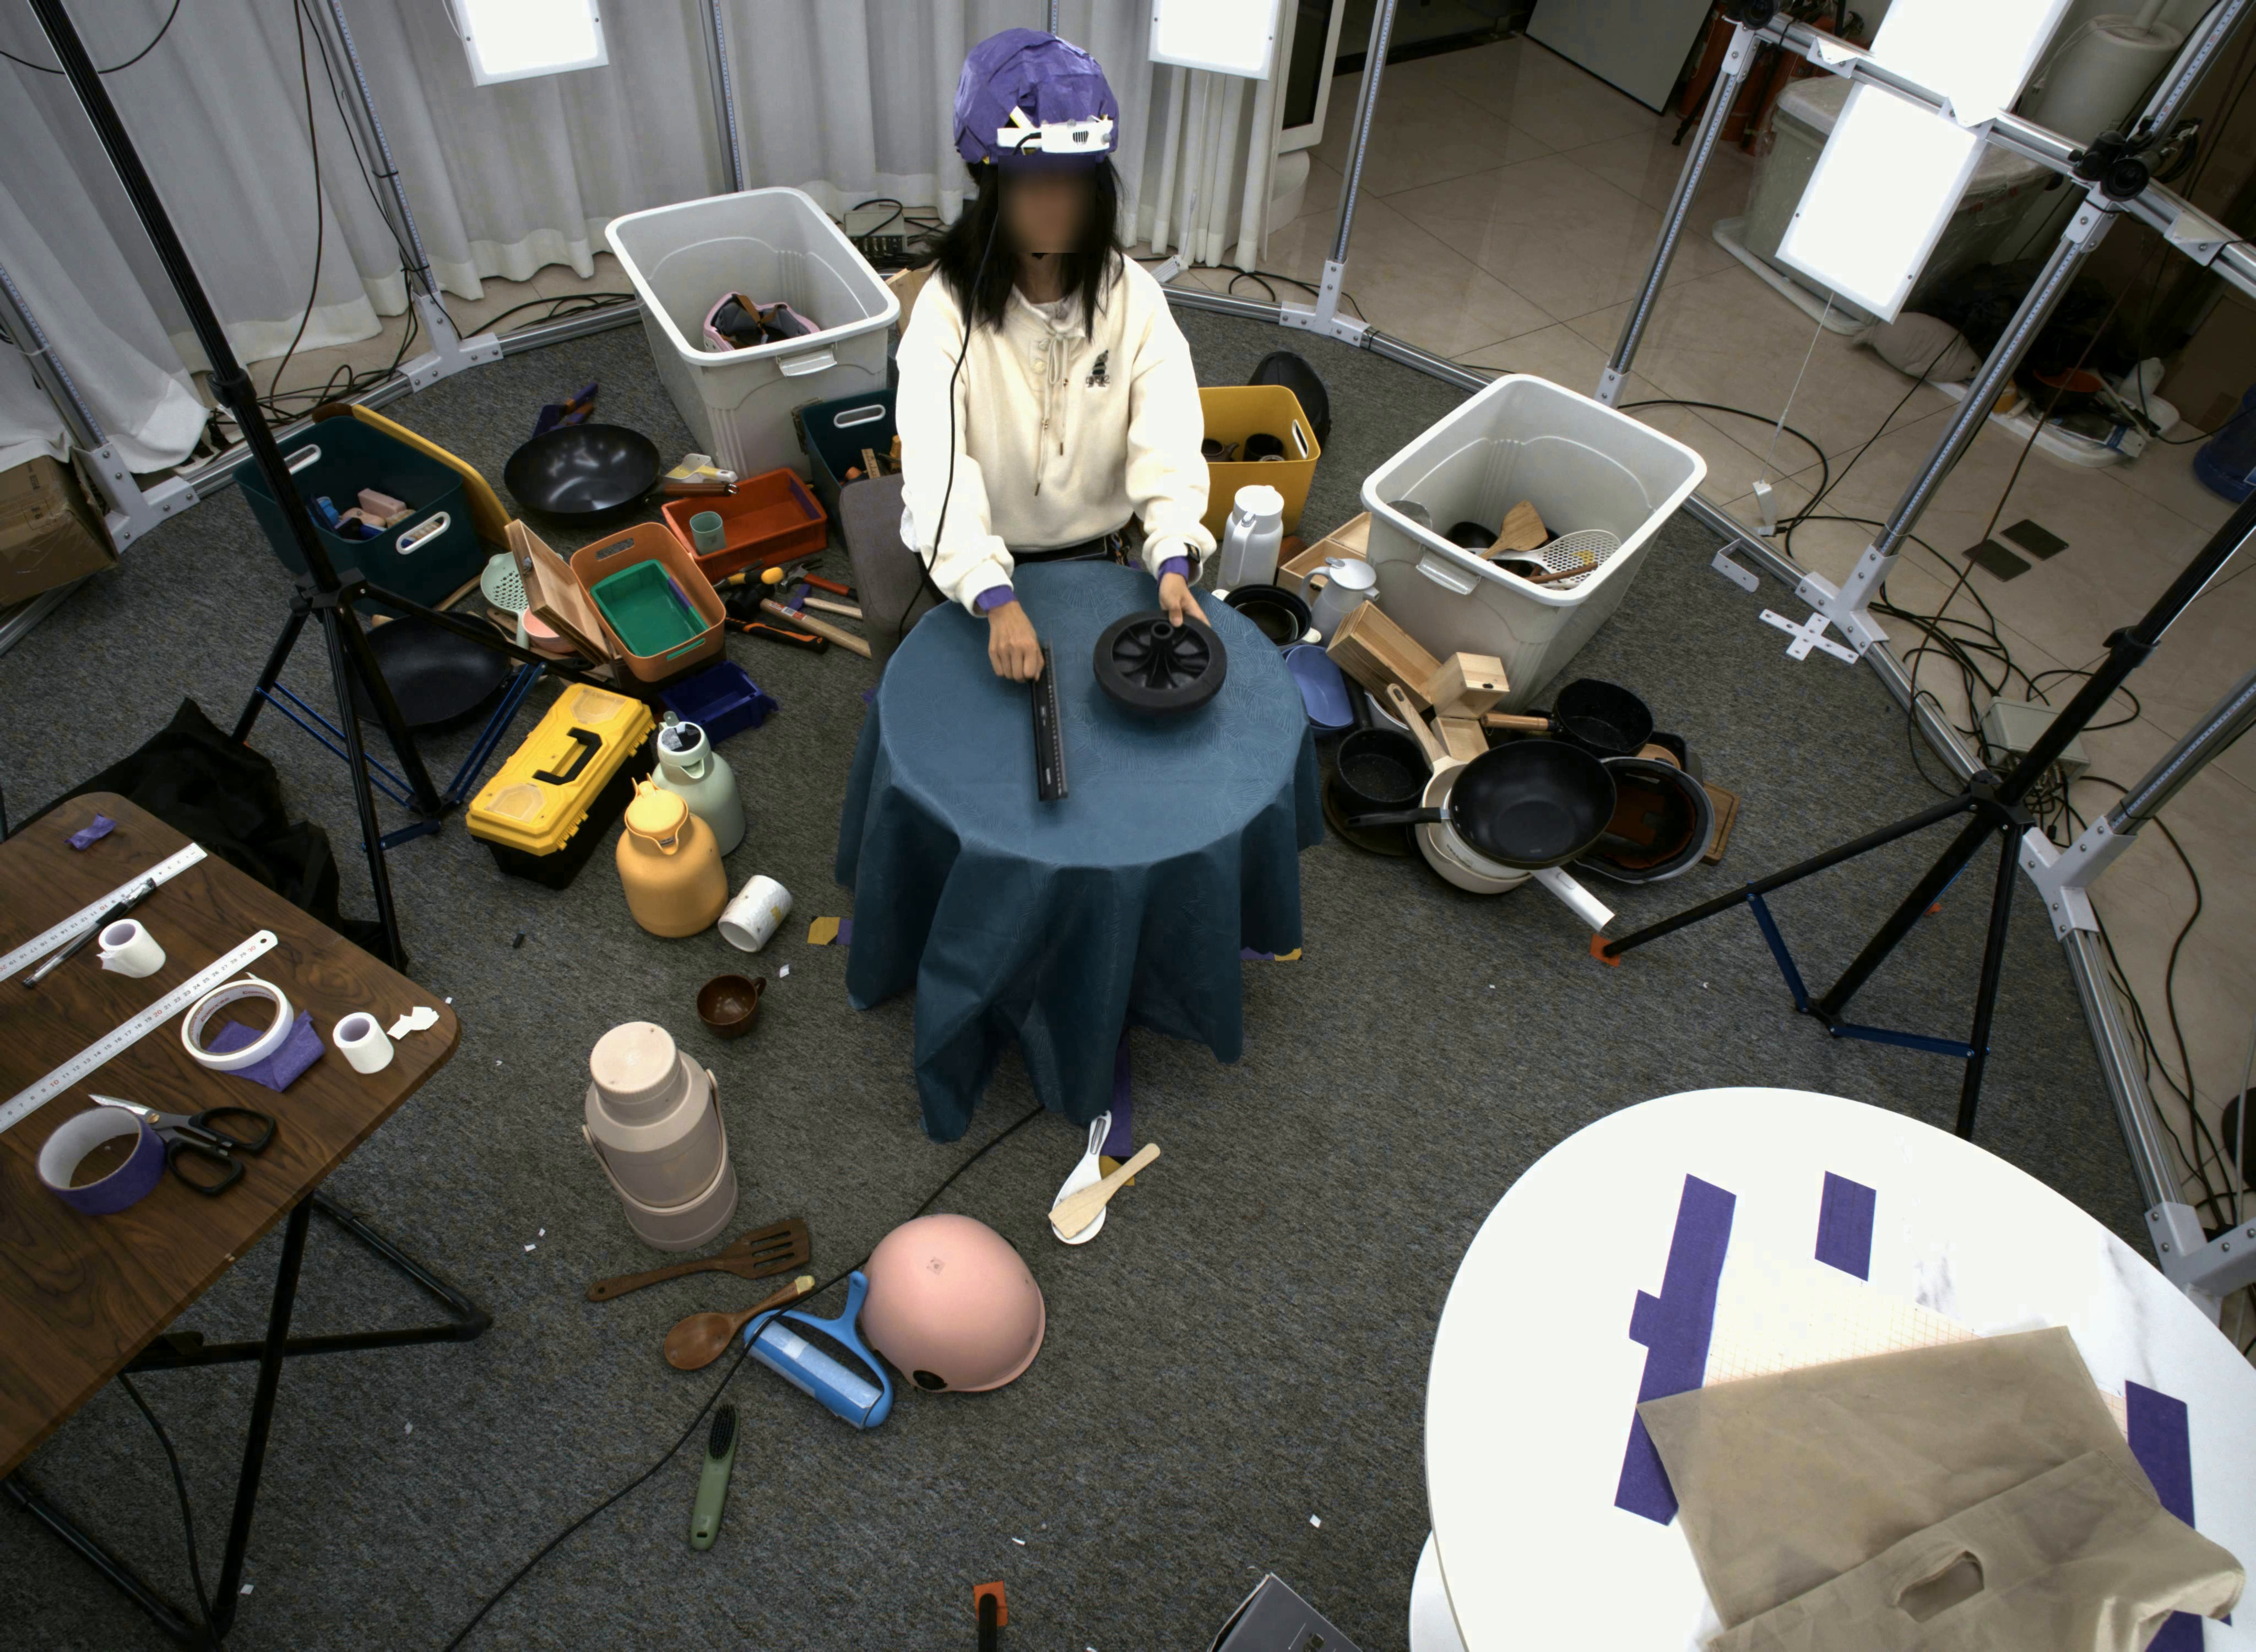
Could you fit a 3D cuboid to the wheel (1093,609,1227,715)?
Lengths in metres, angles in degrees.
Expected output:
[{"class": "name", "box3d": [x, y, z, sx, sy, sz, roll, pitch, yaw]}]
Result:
[{"class": "wheel", "box3d": [0.046, -0.246, 1.789, 0.190, 0.077, 0.192, -11, 54, -10]}]

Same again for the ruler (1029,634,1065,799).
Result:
[{"class": "ruler", "box3d": [-0.112, -0.158, 1.755, 0.039, 0.017, 0.320, -4, 48, -2]}]
